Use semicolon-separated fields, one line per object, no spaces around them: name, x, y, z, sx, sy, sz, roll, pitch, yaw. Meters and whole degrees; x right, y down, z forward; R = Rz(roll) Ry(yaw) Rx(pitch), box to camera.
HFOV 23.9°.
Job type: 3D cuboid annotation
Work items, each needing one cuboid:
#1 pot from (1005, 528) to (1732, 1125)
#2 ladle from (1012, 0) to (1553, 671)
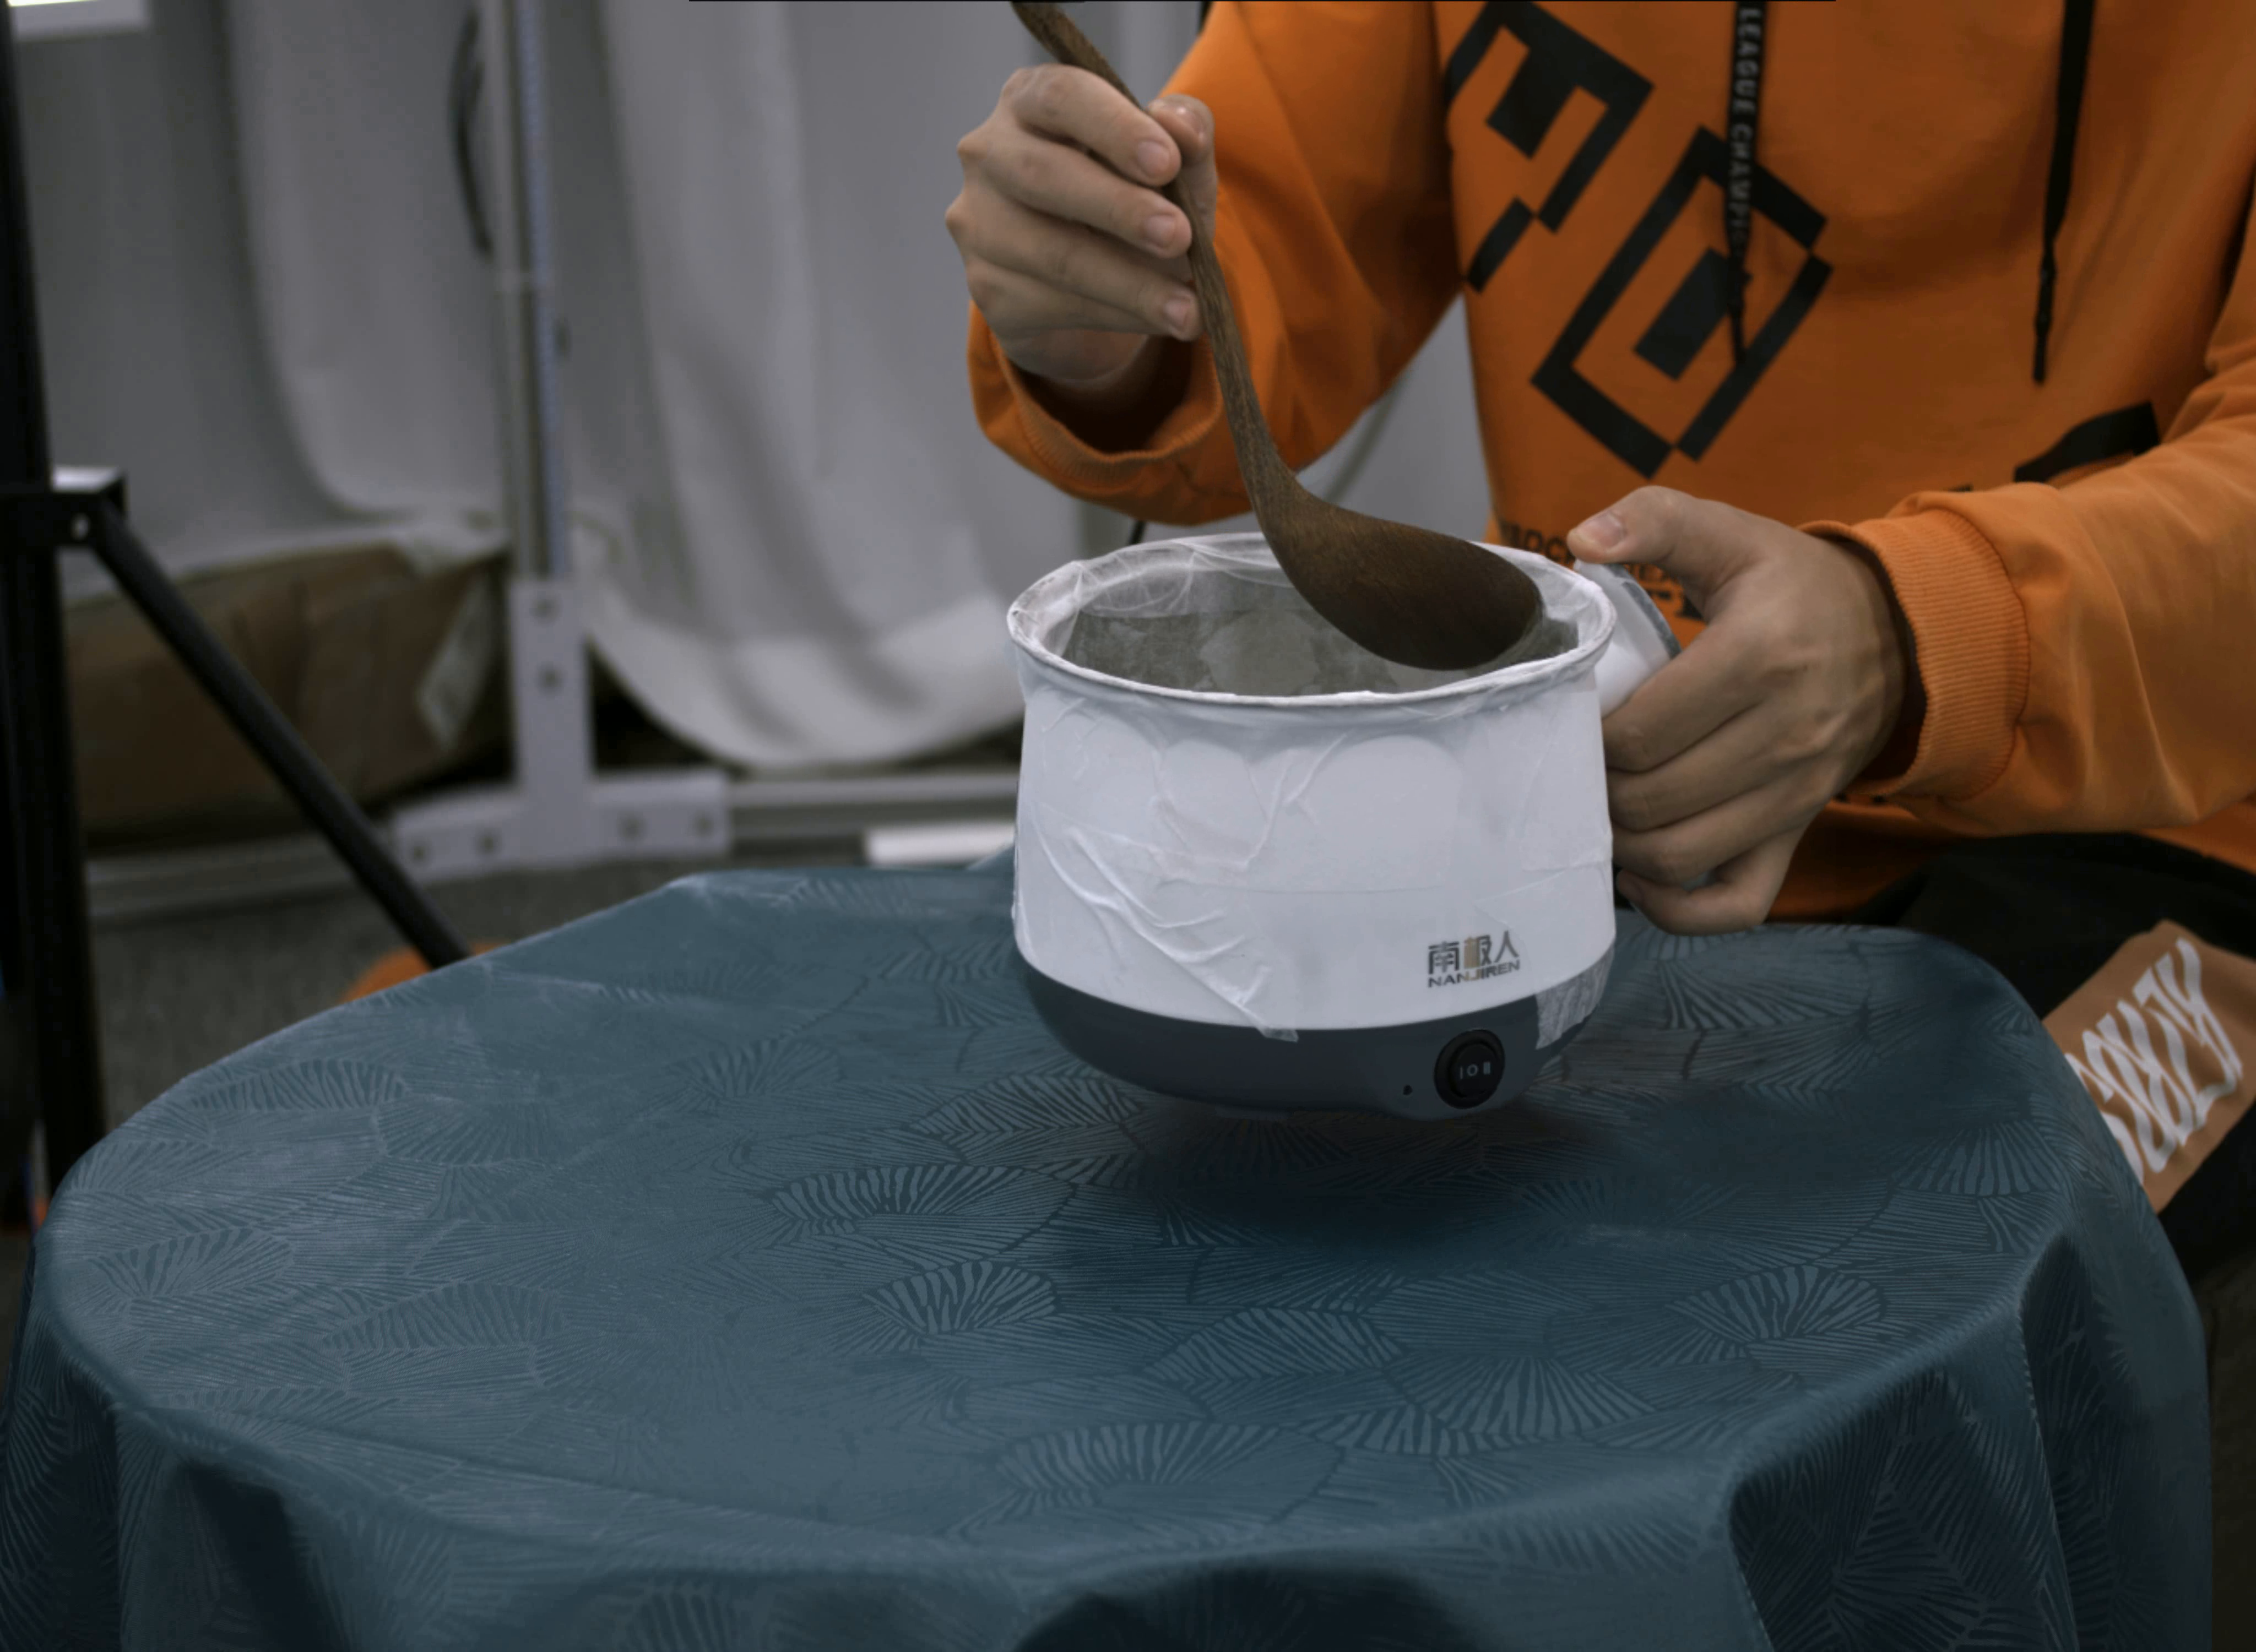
pot;0.077;-0.006;1.566;0.229;0.136;0.182;-11;21;-28
ladle;0.045;-0.162;1.600;0.071;0.278;0.075;-24;-26;1
